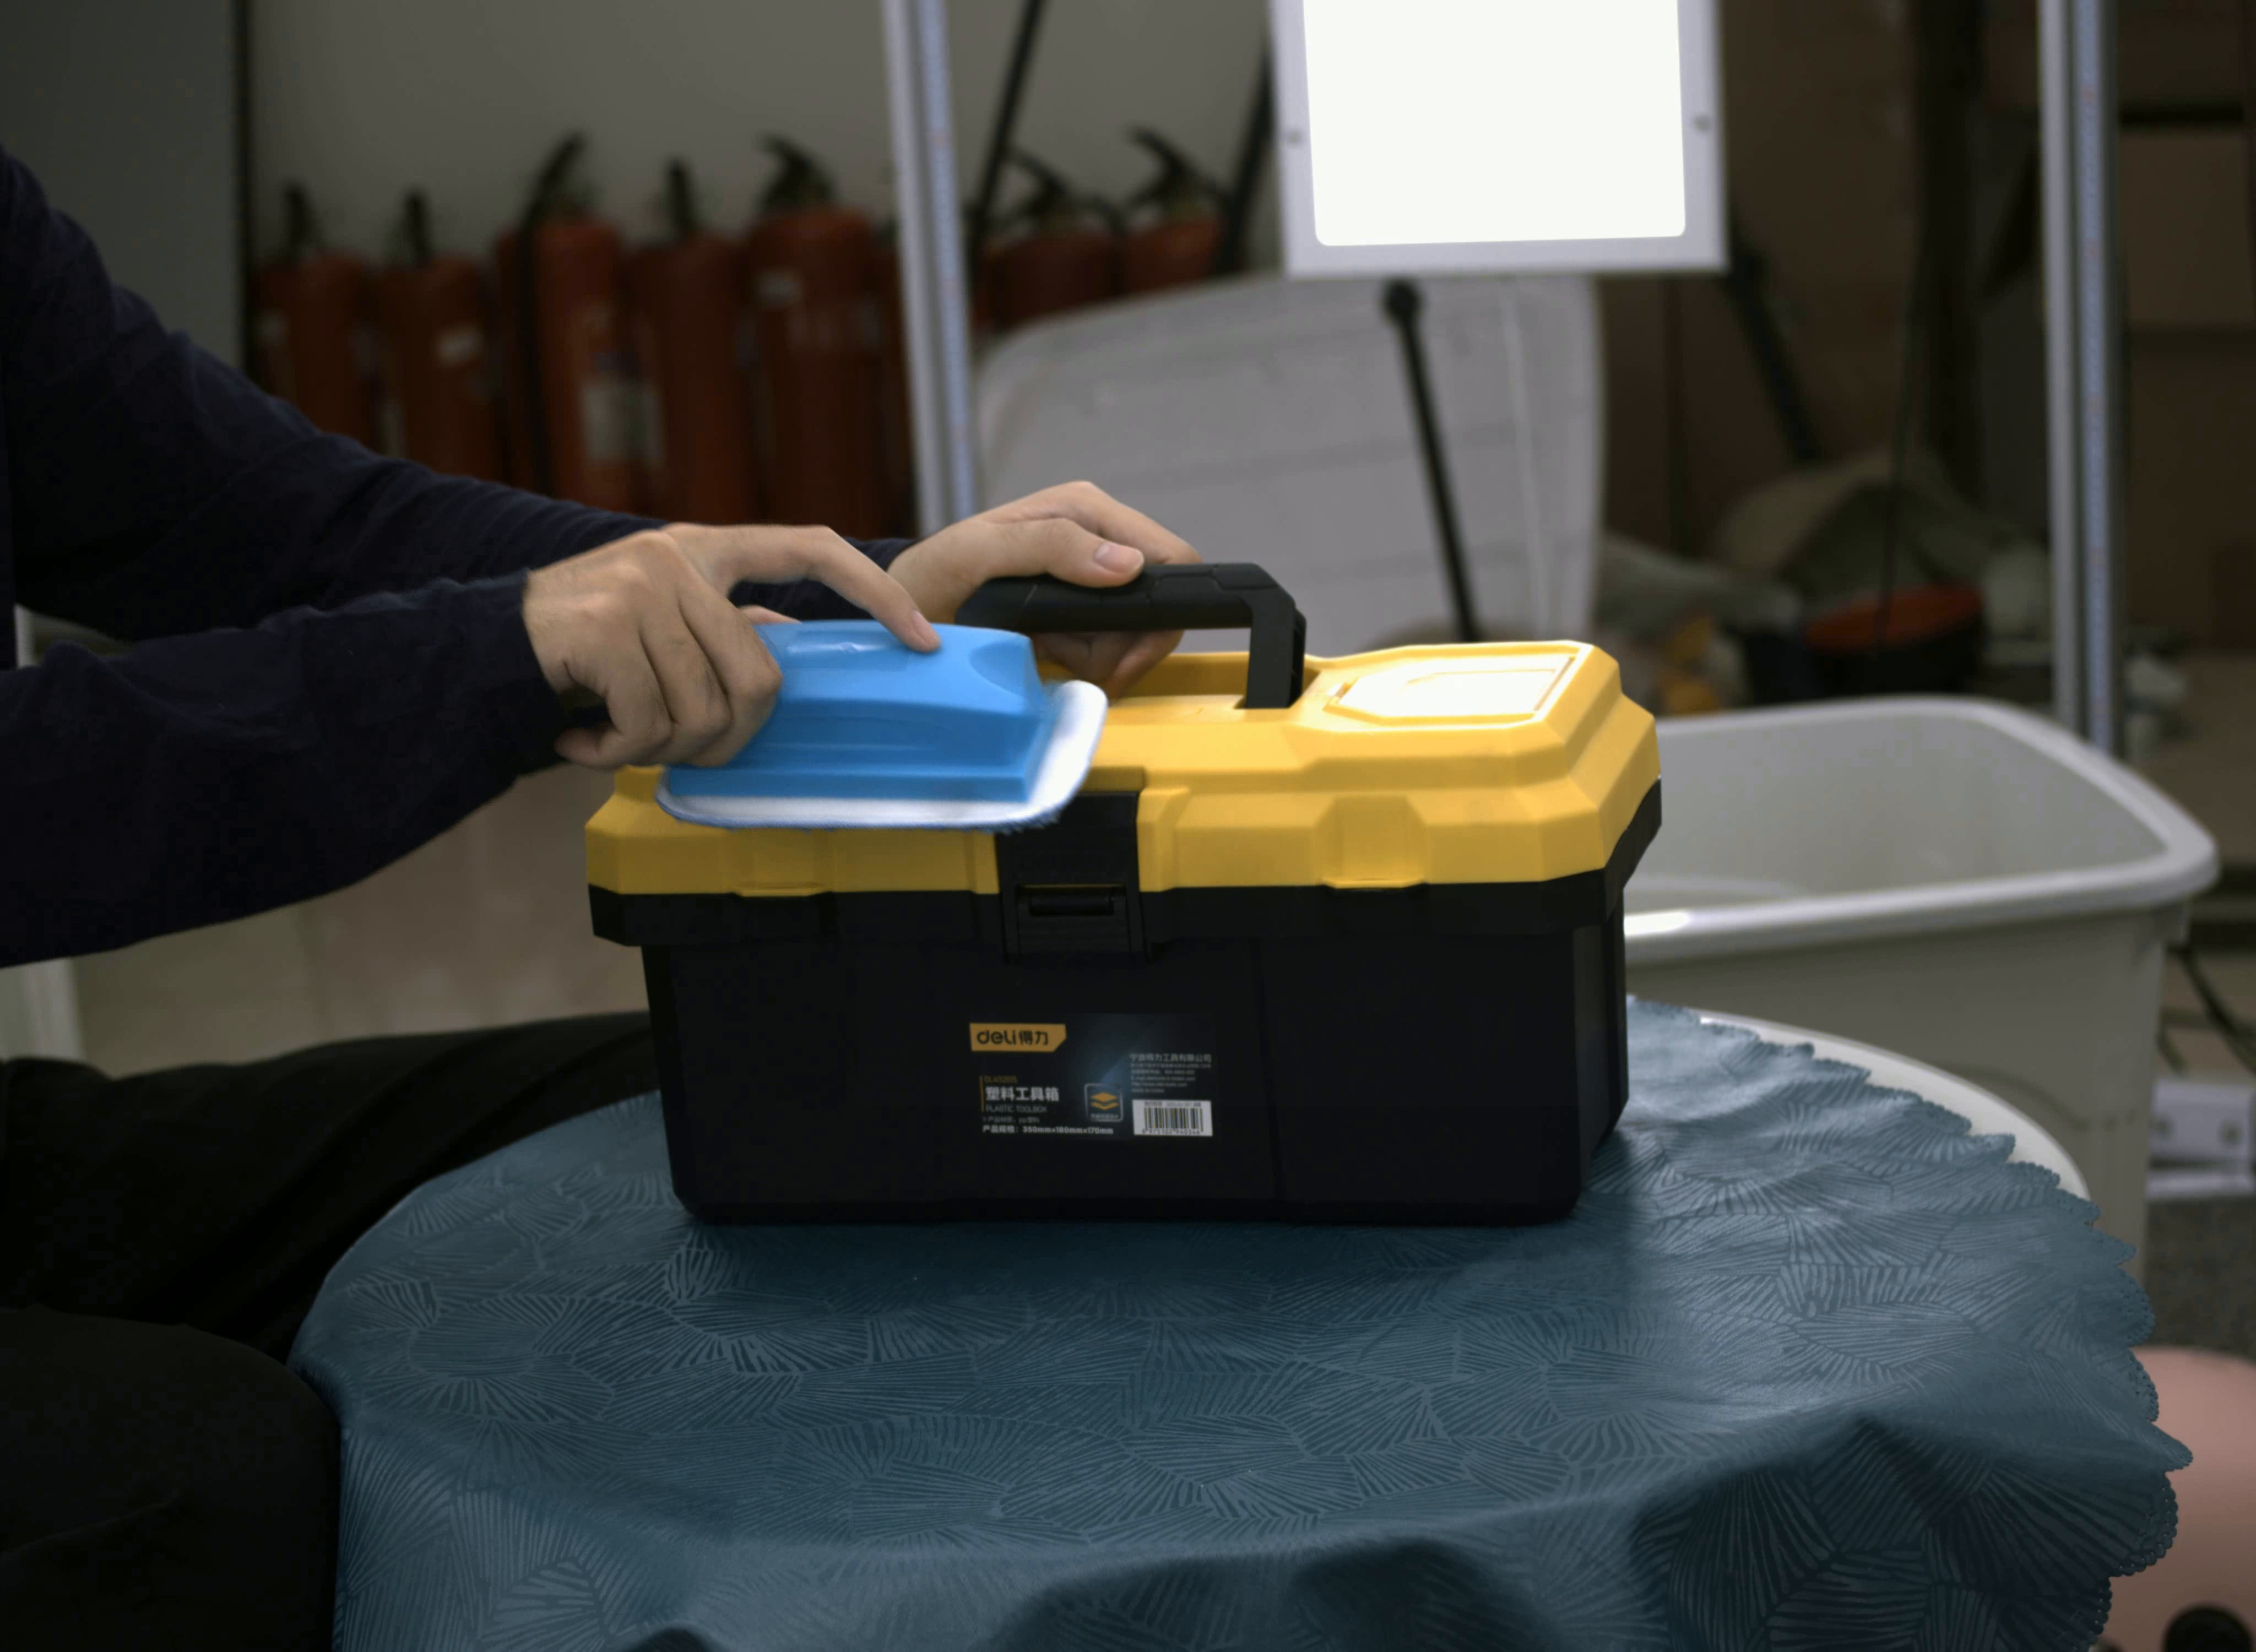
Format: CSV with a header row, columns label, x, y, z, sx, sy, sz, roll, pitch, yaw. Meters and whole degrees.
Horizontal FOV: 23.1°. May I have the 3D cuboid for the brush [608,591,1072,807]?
label,x,y,z,sx,sy,sz,roll,pitch,yaw
brush,-0.093,-0.043,1.771,0.145,0.056,0.083,4,34,16

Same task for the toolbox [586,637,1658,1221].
label,x,y,z,sx,sy,sz,roll,pitch,yaw
toolbox,0.002,0.037,1.898,0.355,0.173,0.179,-1,14,16
